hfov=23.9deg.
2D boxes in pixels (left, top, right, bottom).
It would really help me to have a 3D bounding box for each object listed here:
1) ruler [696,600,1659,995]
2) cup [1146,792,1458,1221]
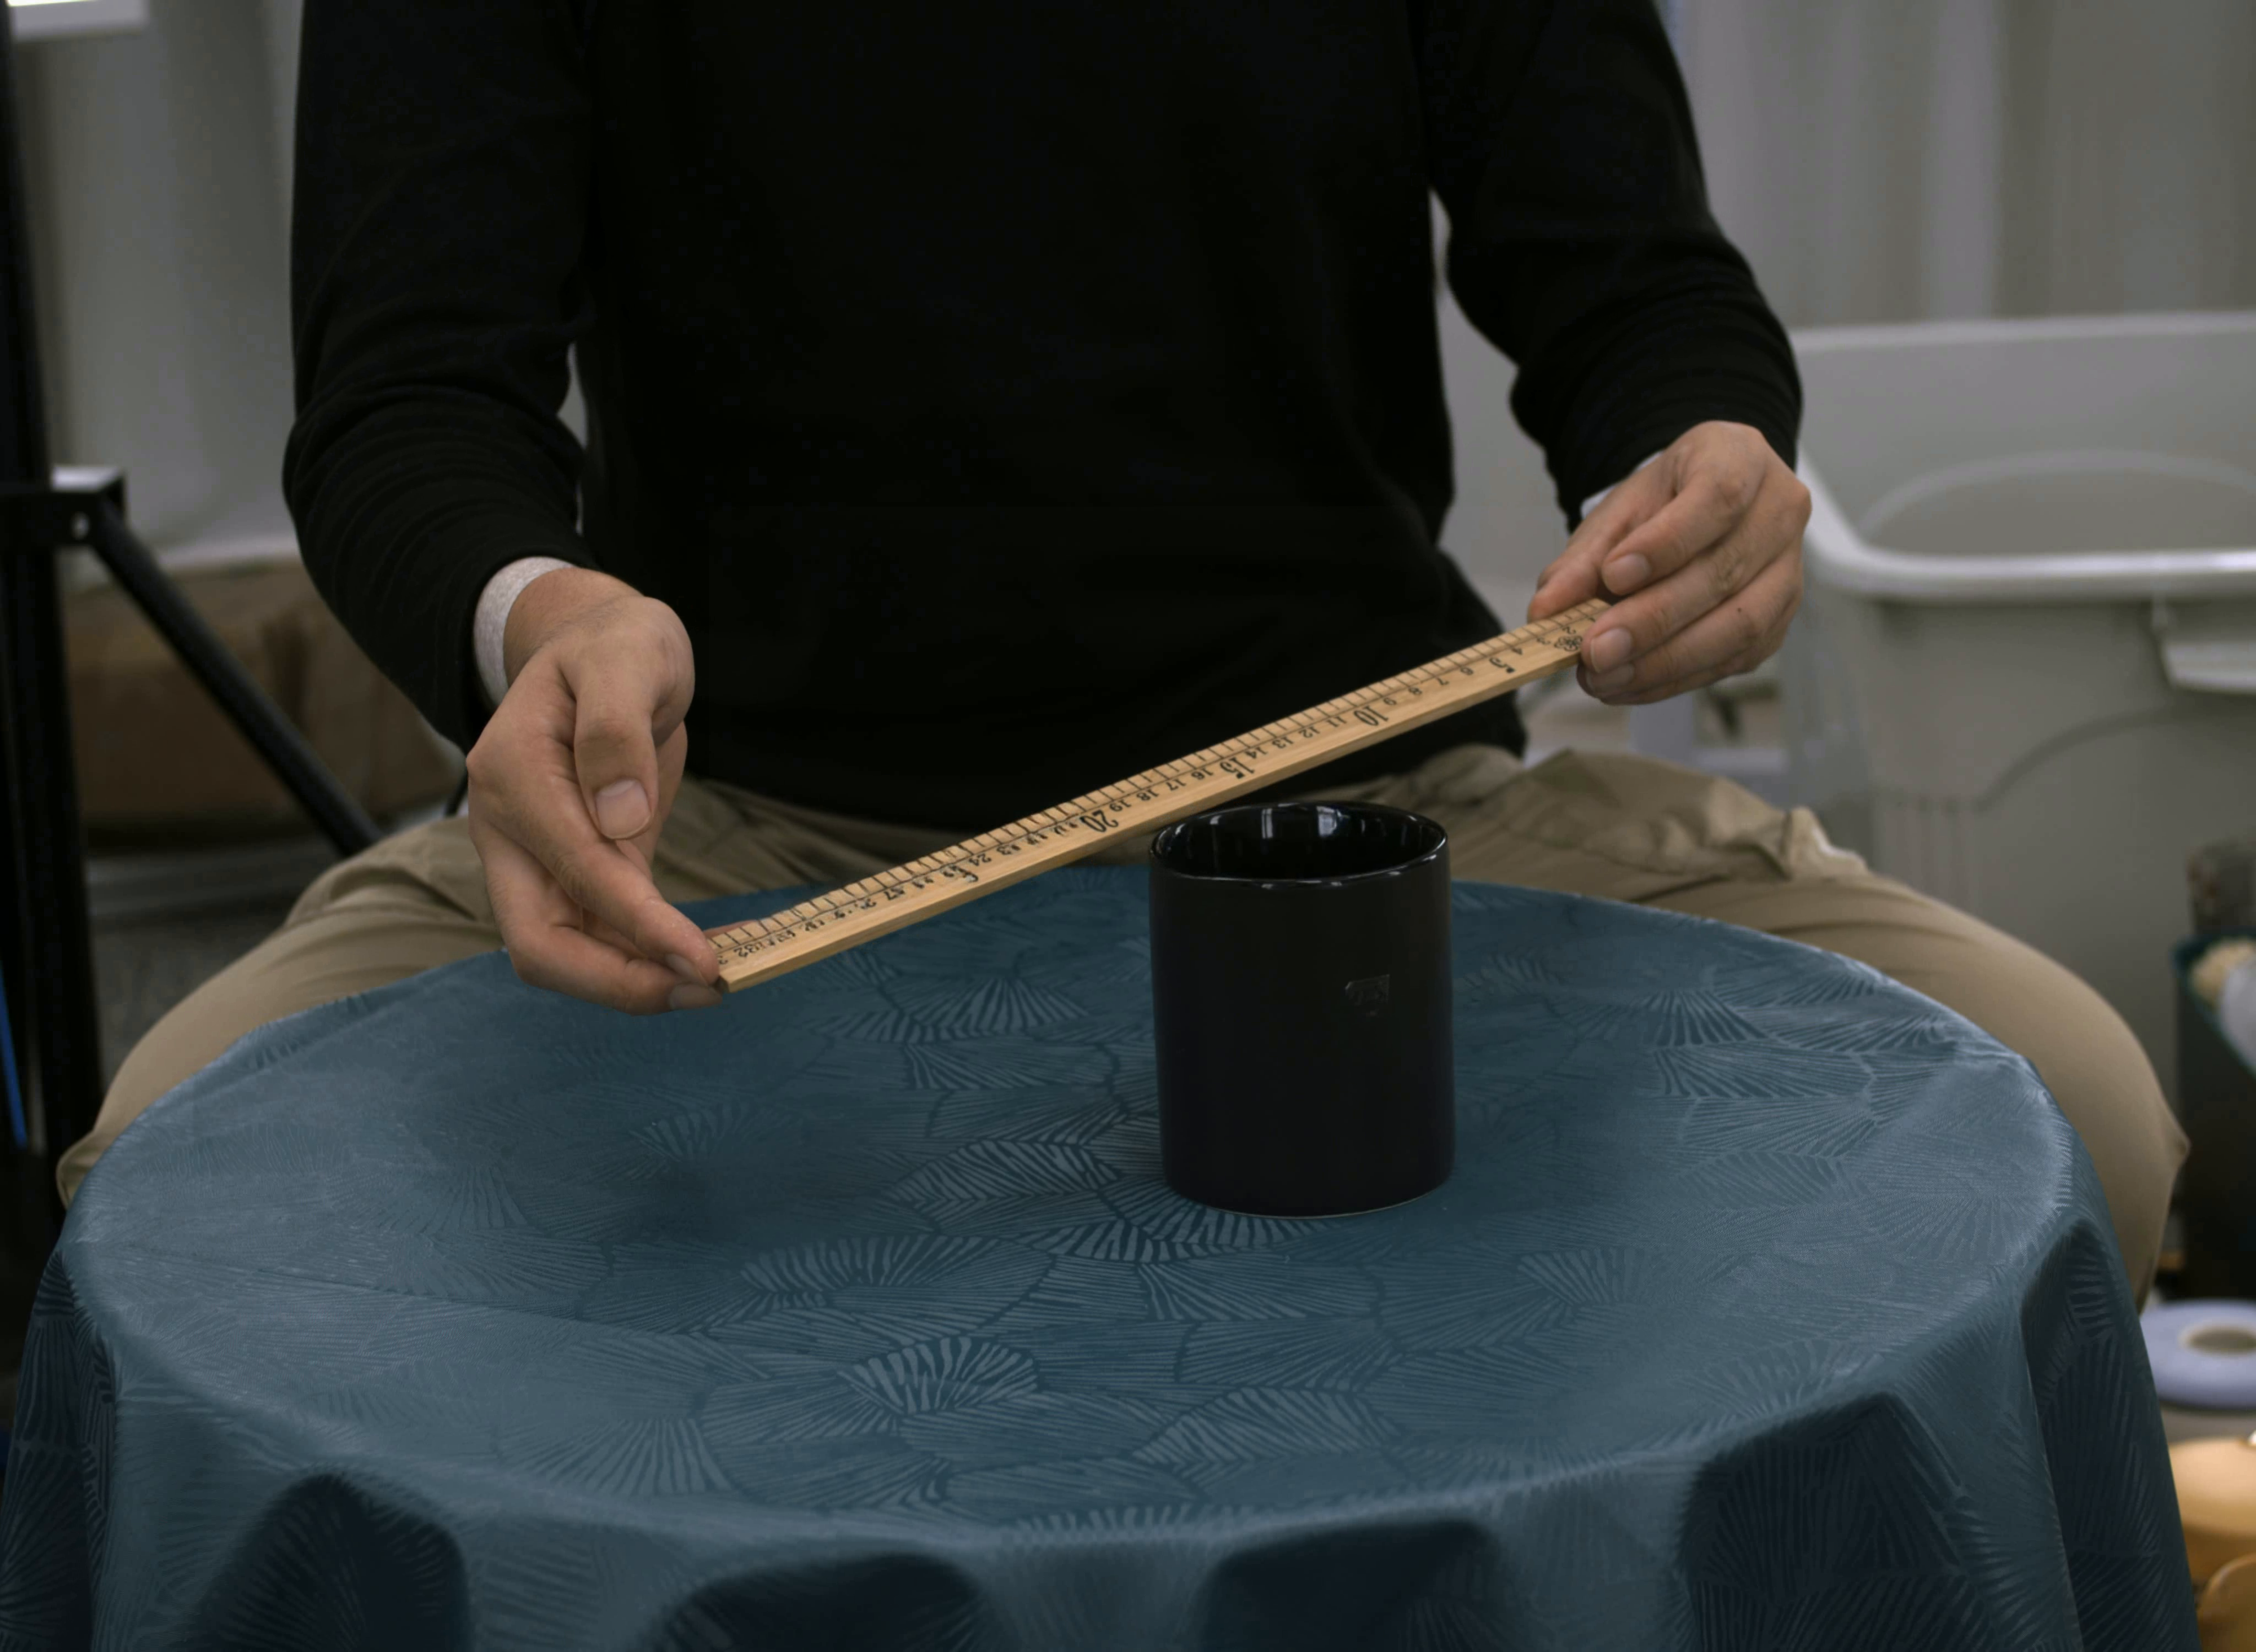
[{"bbox_3d":[0.020,-0.014,1.585,0.326,0.022,0.028,-21,39,-25],"label":"ruler"},{"bbox_3d":[0.050,0.048,1.572,0.088,0.105,0.124,-5,16,-3],"label":"cup"}]
